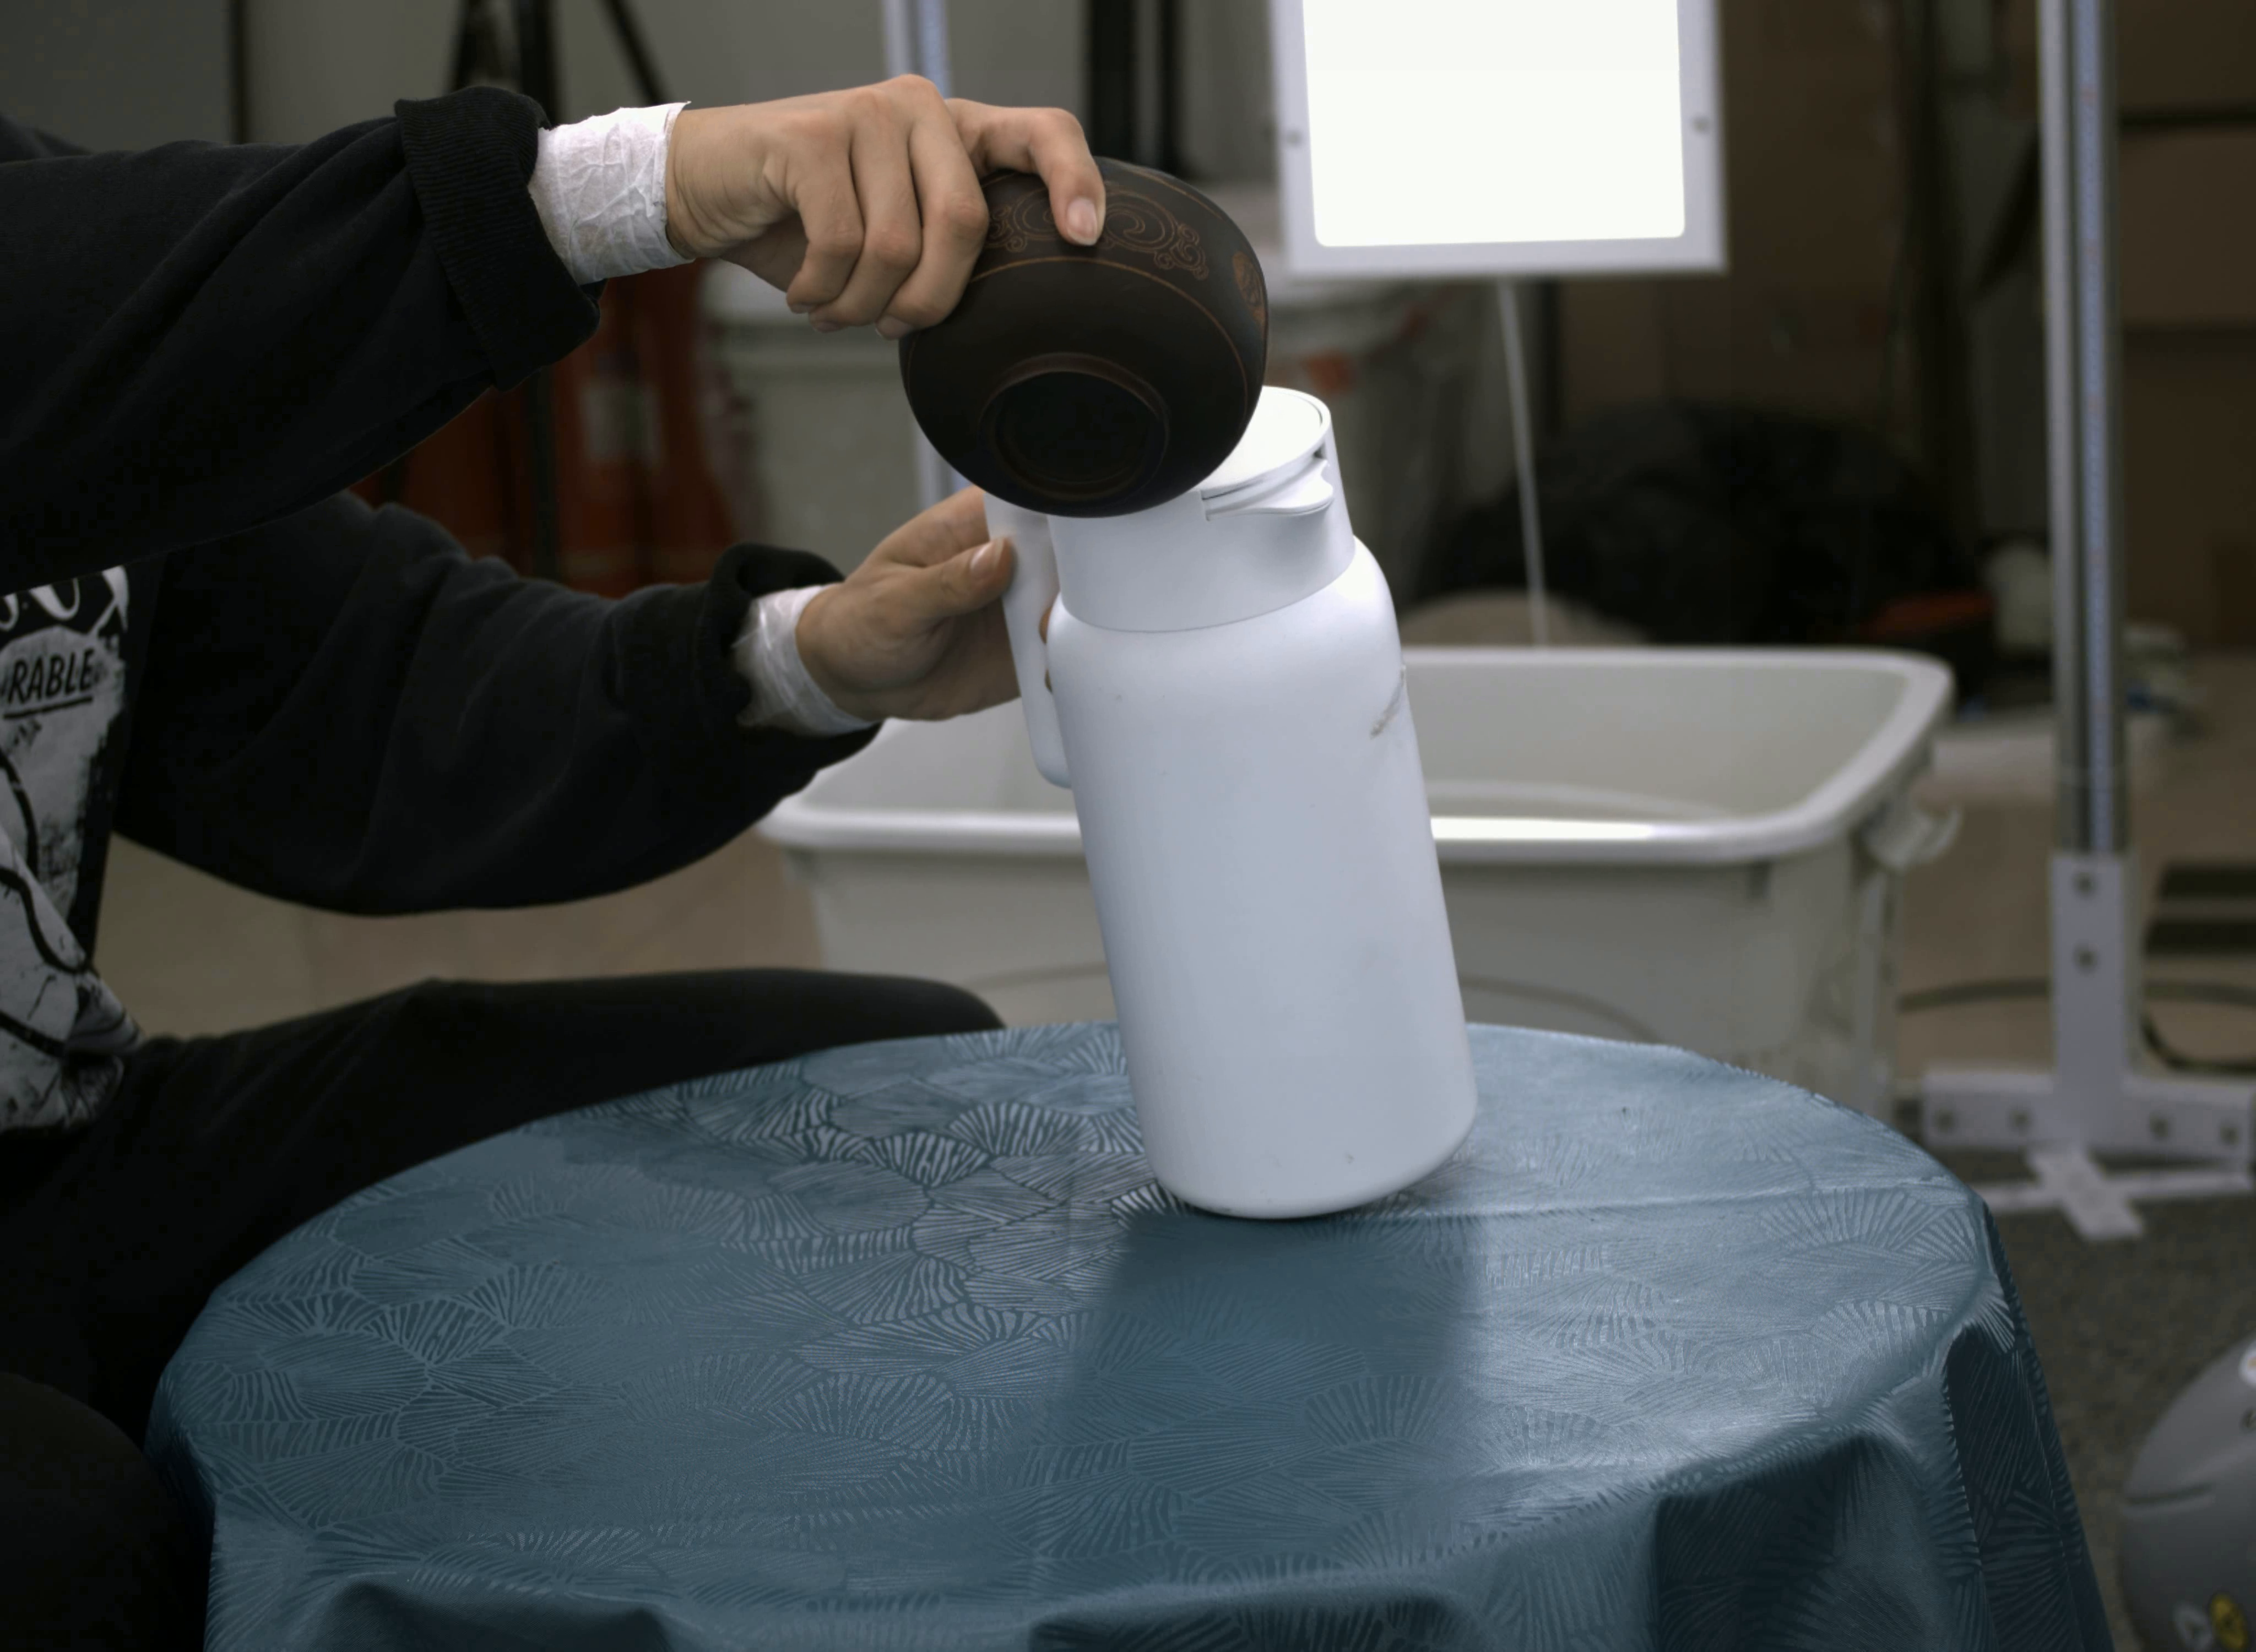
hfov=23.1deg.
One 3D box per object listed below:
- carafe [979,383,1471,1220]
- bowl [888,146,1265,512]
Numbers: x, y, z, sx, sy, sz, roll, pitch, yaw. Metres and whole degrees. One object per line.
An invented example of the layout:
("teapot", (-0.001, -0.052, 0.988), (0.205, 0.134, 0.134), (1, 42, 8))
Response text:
("carafe", (0.028, -0.011, 1.859), (0.121, 0.269, 0.176), (-29, 29, -31))
("bowl", (-0.017, -0.144, 1.702), (0.119, 0.118, 0.069), (-1, 46, 12))
